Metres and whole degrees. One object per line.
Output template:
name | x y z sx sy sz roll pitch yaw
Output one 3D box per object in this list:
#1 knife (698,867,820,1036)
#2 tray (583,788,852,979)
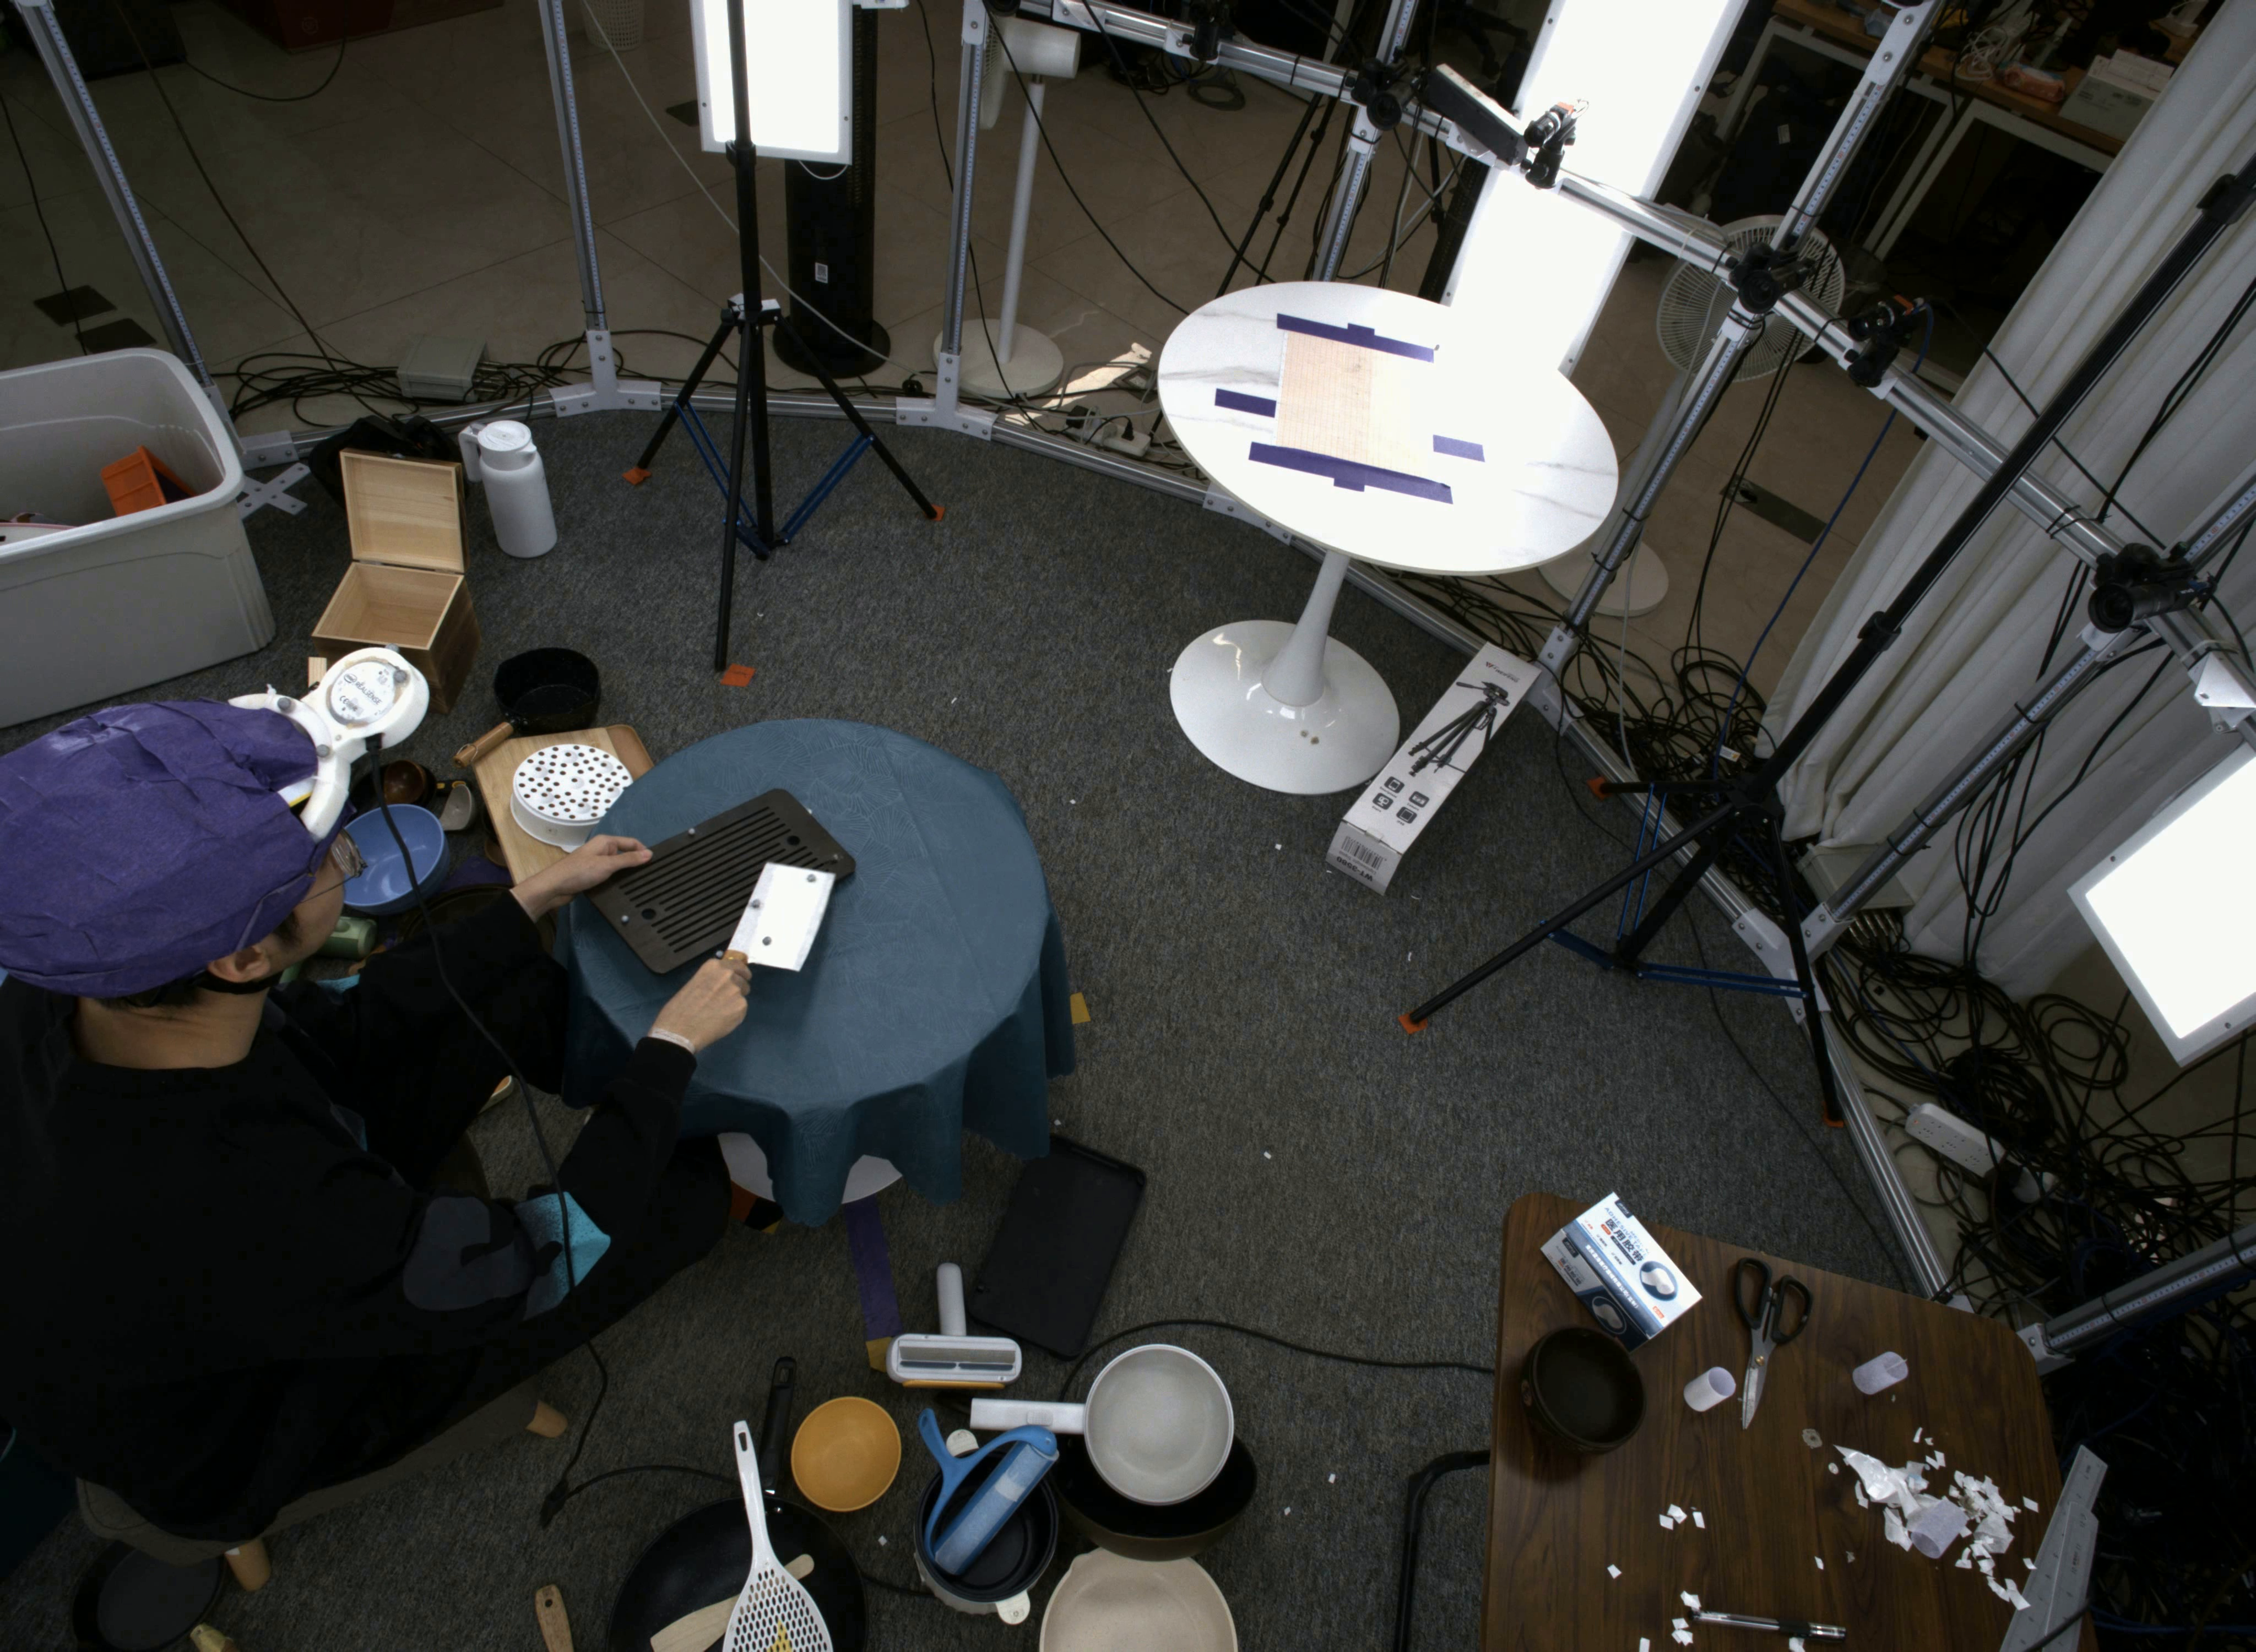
knife | -0.422 0.138 1.511 0.092 0.021 0.299 11 33 -6
tray | -0.509 0.064 1.606 0.166 0.019 0.307 44 48 17
